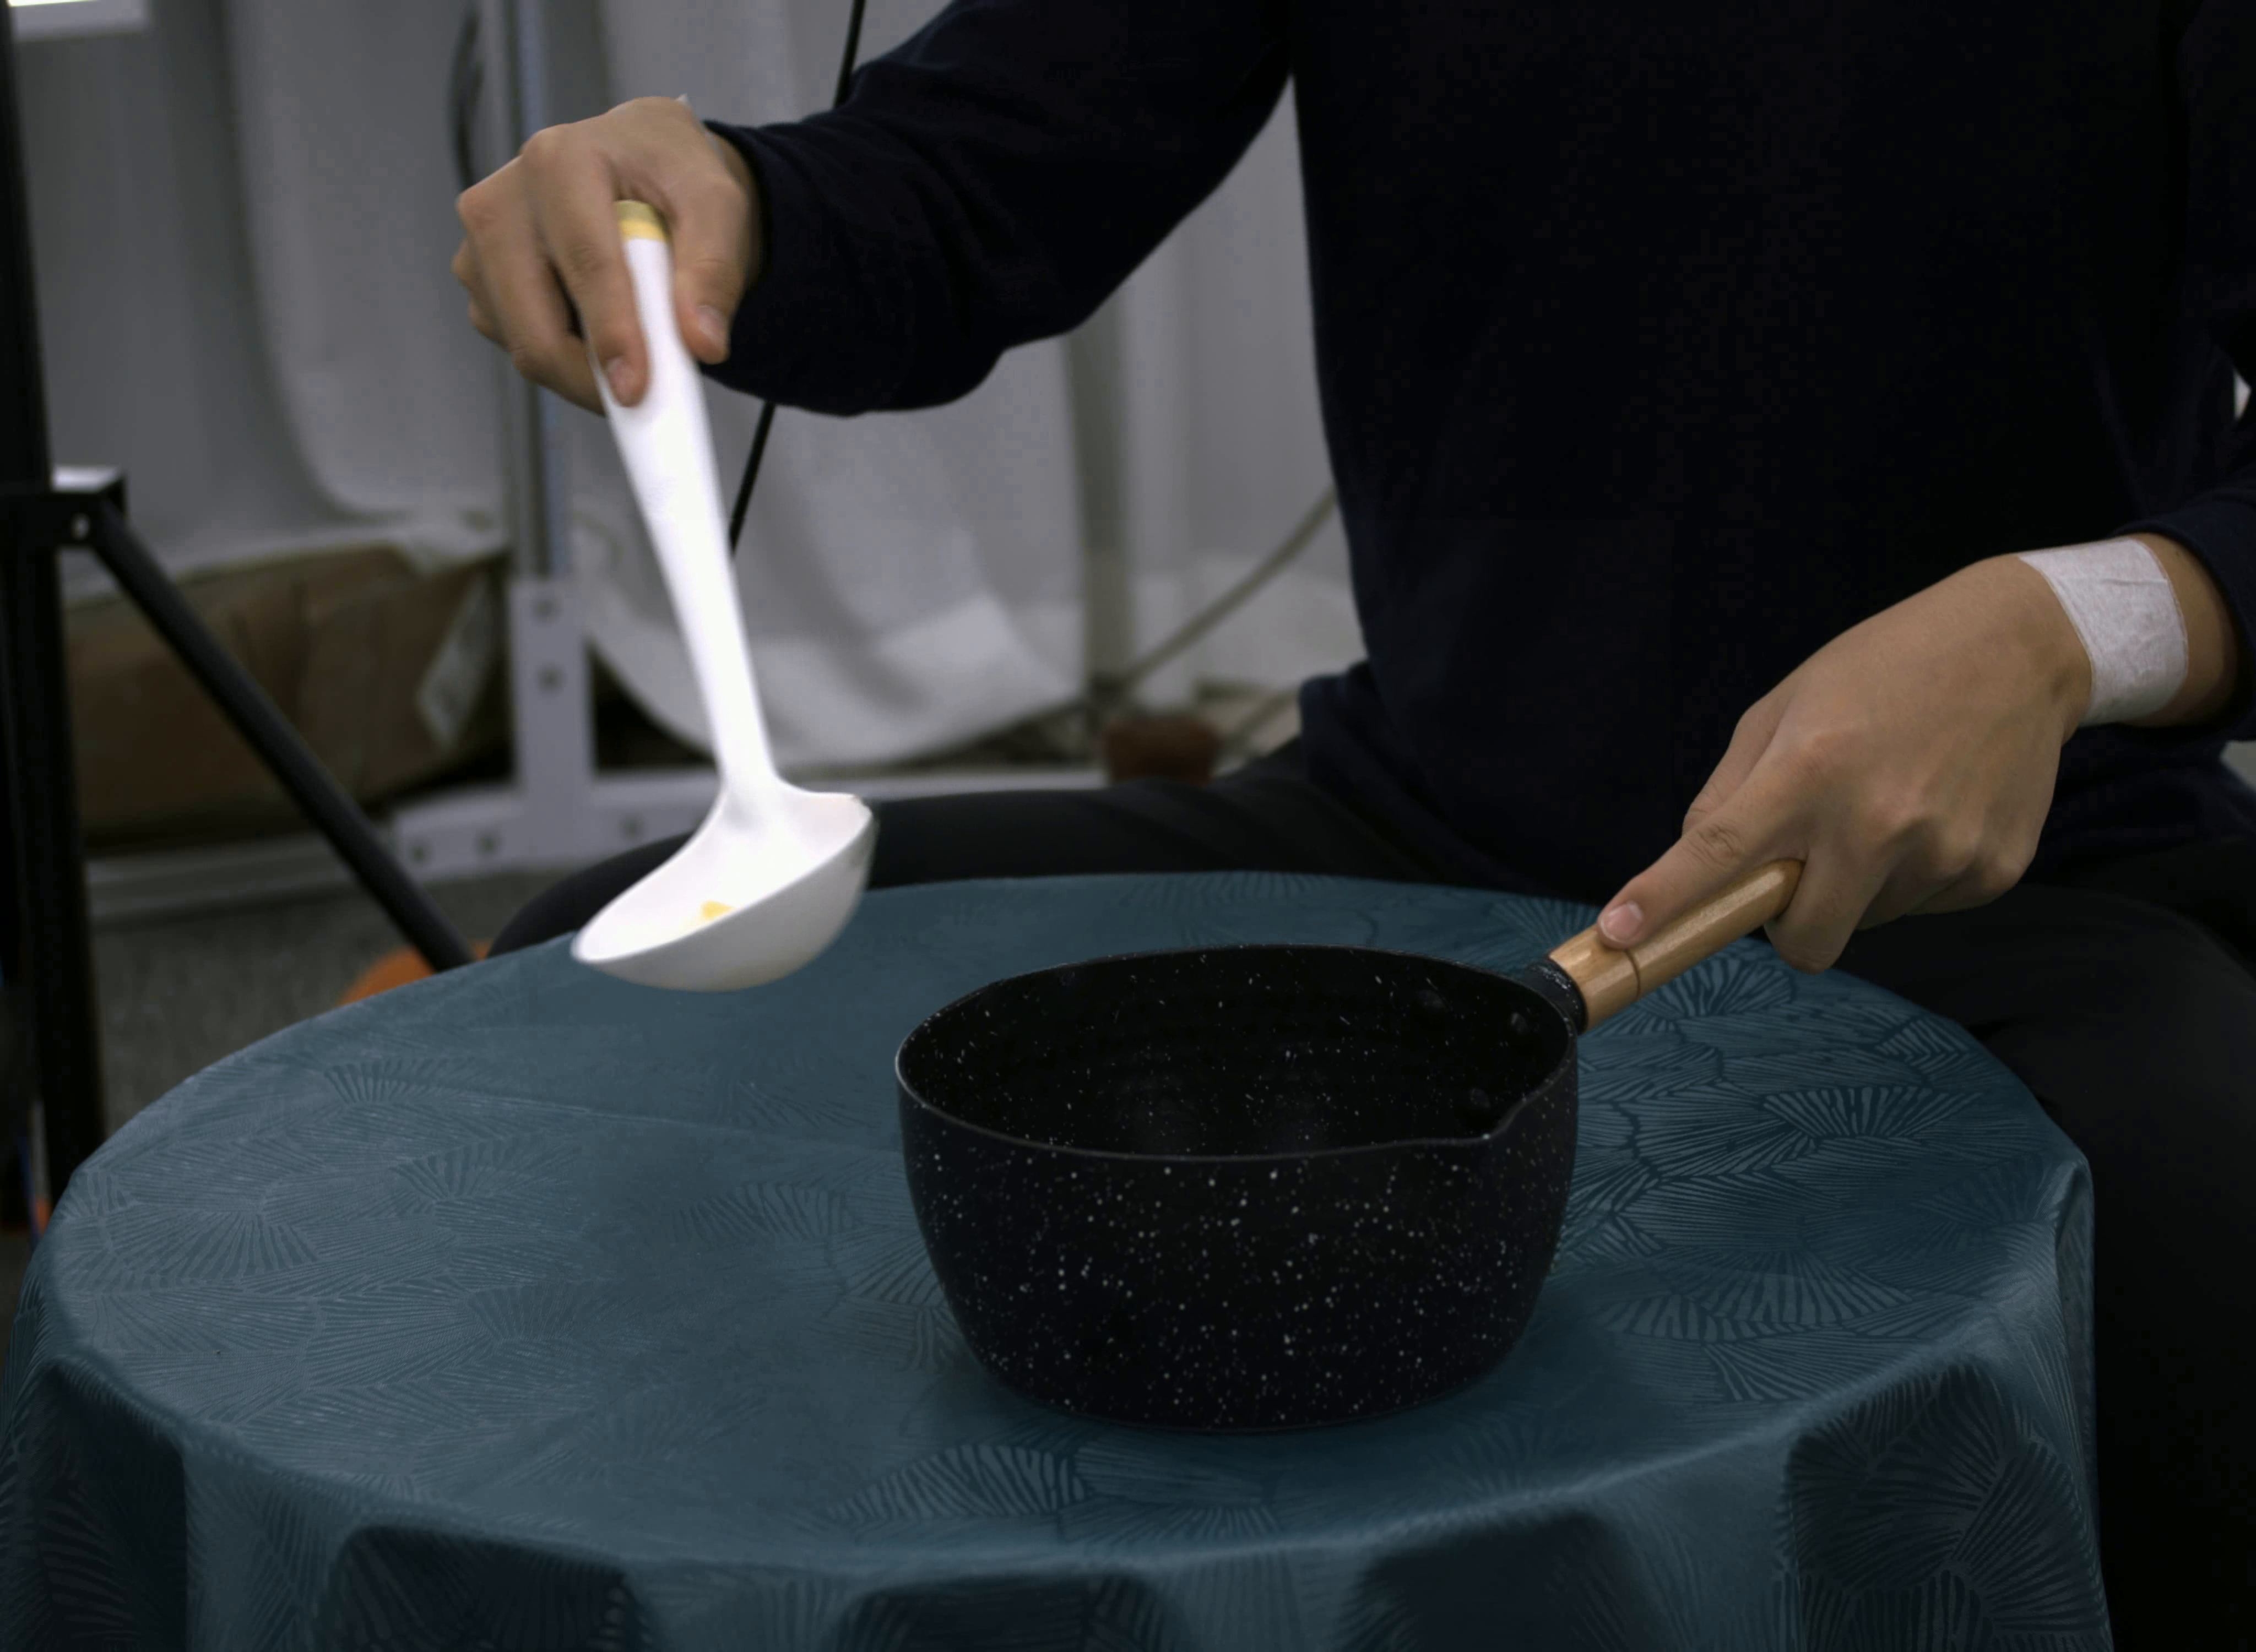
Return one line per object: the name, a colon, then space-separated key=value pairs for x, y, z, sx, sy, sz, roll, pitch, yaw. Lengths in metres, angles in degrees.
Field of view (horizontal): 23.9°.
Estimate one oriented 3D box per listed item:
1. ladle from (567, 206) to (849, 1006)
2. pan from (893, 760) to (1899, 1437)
ladle: x=-0.132 y=-0.069 z=1.498 sx=0.091 sy=0.068 sz=0.298 roll=-30 pitch=50 yaw=20
pan: x=0.090 y=0.070 z=1.474 sx=0.335 sy=0.108 sz=0.212 roll=-17 pitch=20 yaw=-36
